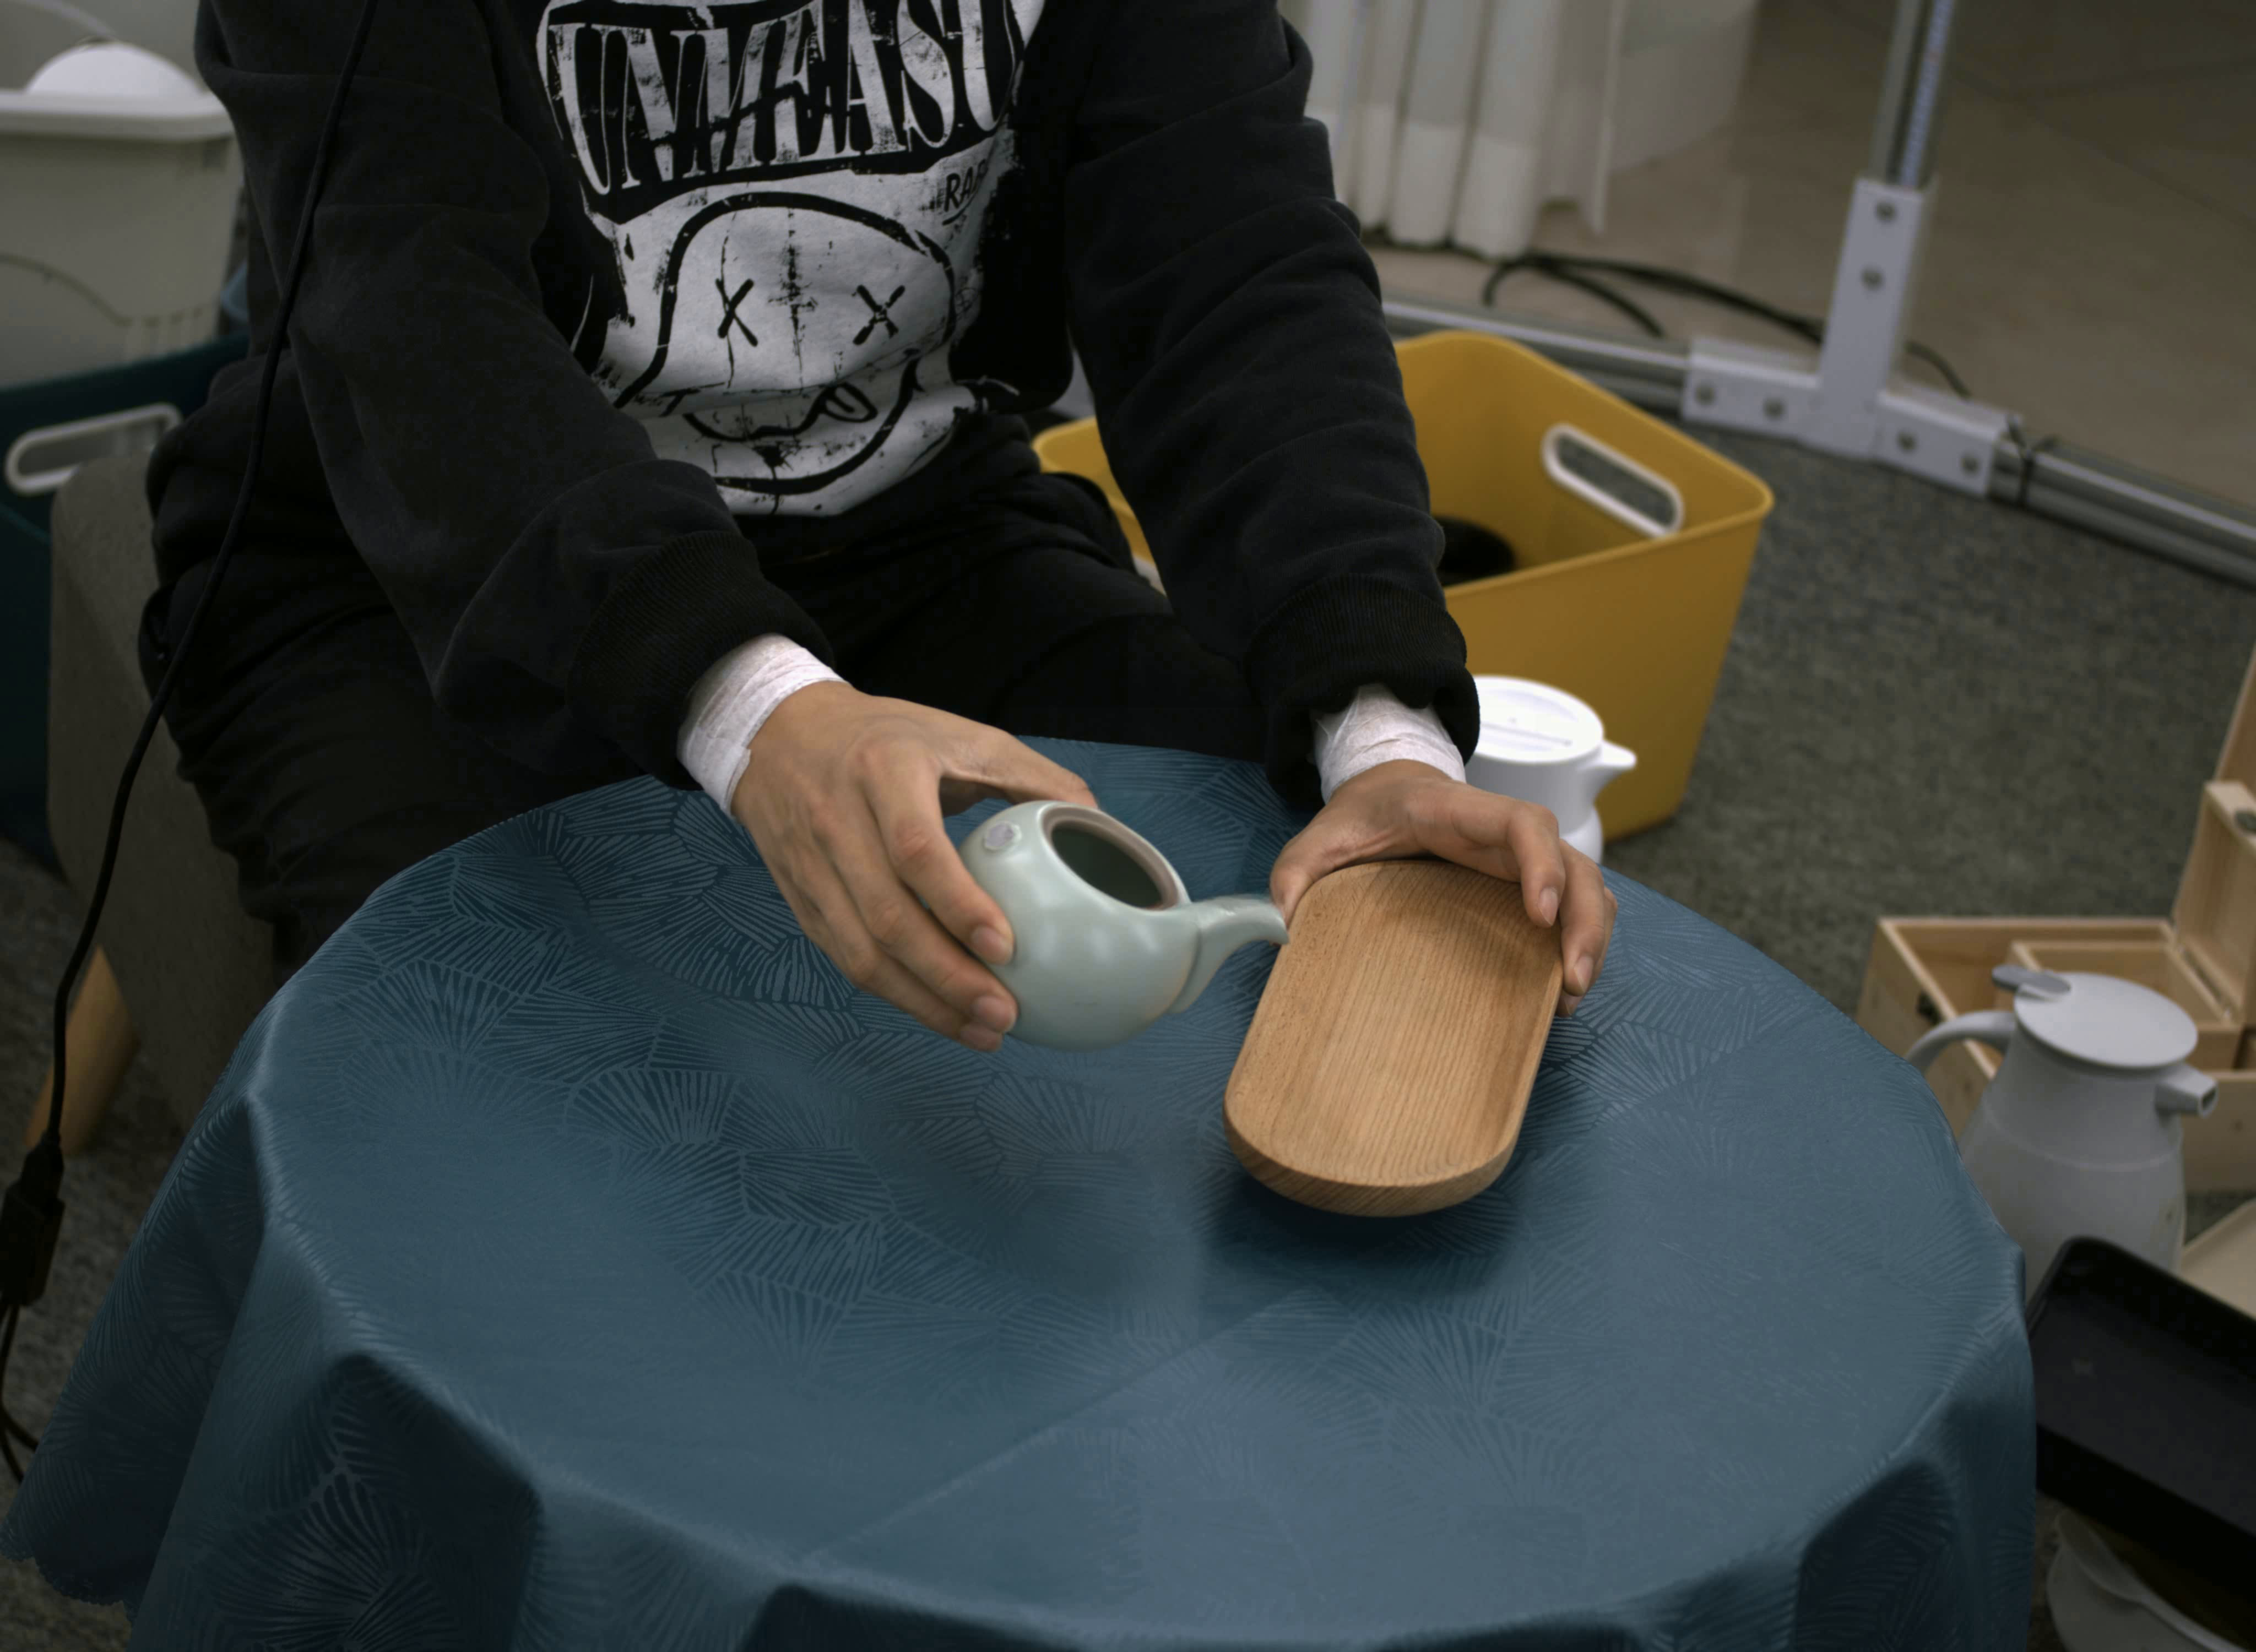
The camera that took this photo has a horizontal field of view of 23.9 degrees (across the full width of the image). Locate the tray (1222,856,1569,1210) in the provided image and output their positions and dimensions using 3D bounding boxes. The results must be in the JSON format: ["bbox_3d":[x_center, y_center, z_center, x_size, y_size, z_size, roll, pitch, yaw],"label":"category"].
[{"bbox_3d":[0.095,0.070,1.866,0.101,0.020,0.232,9,27,8],"label":"tray"}]

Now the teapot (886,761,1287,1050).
[{"bbox_3d":[-0.022,0.032,1.766,0.143,0.074,0.089,26,25,-23],"label":"teapot"}]
